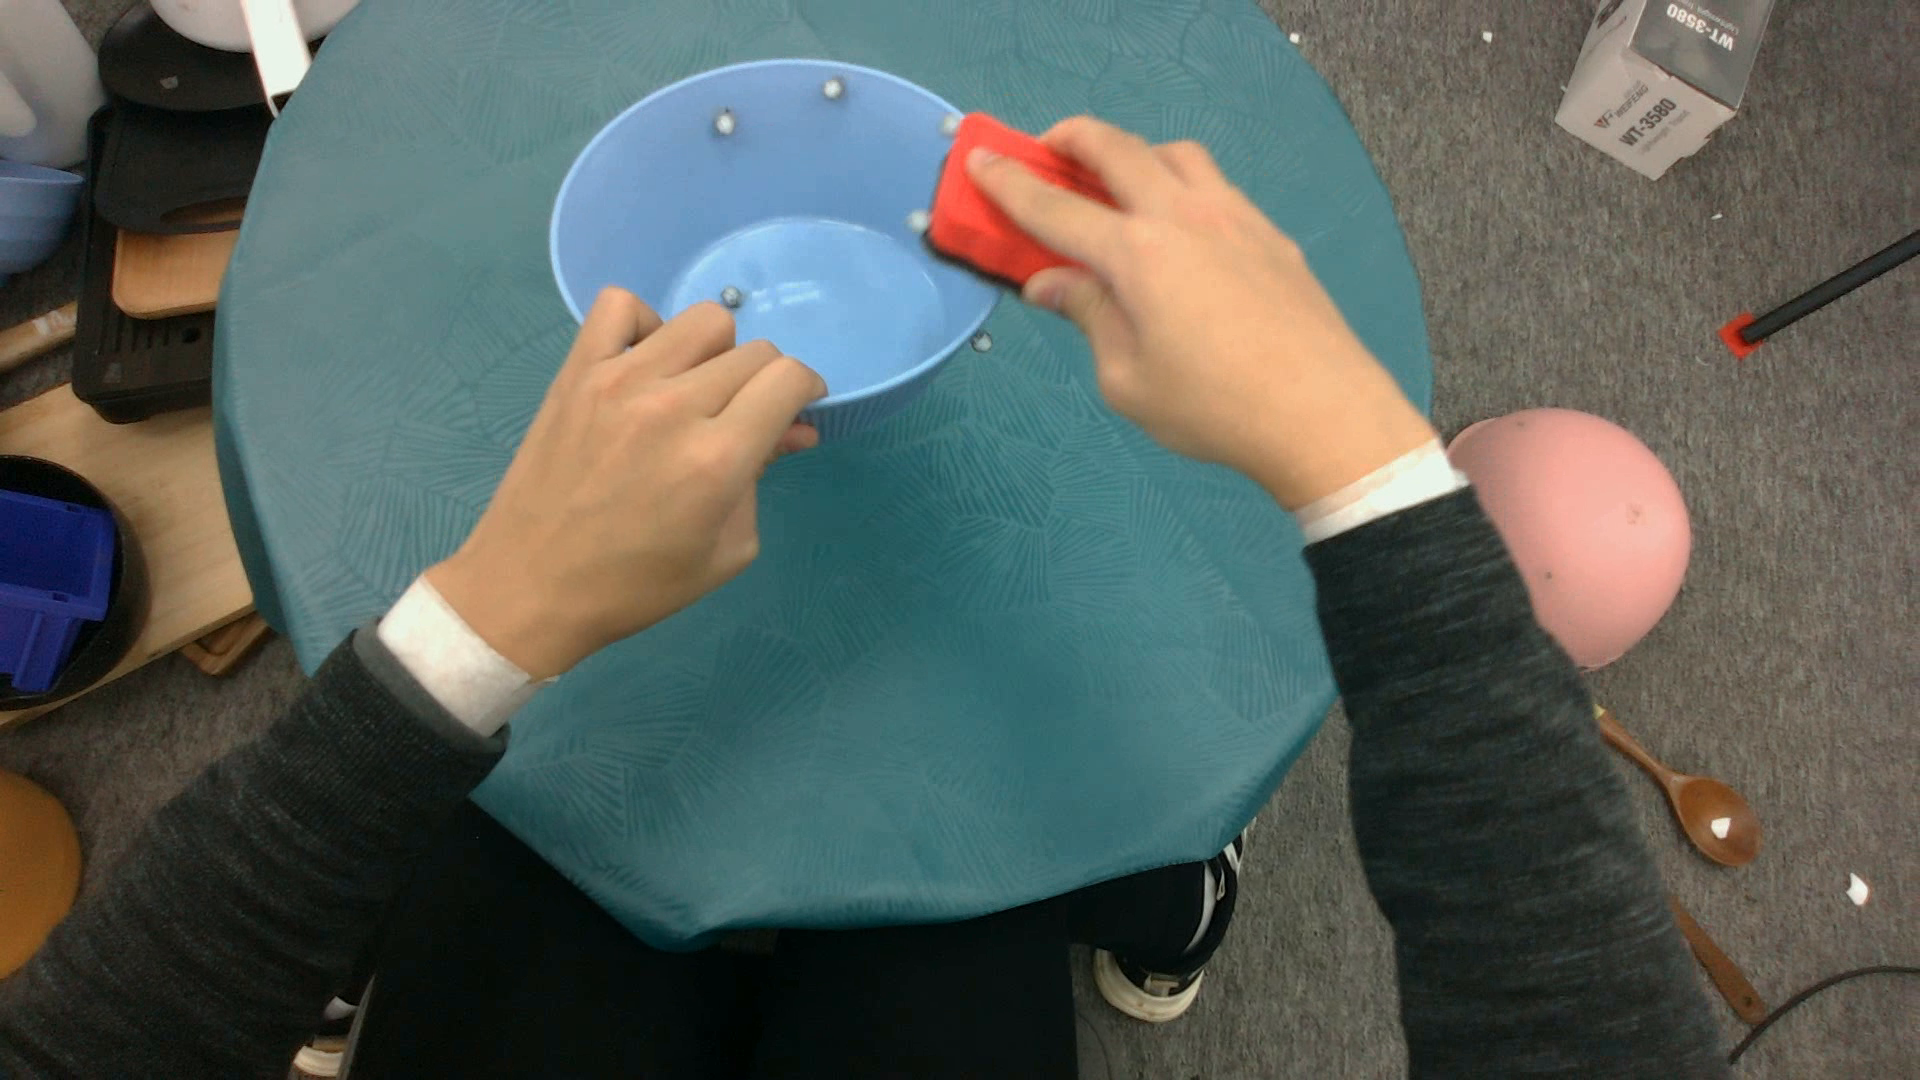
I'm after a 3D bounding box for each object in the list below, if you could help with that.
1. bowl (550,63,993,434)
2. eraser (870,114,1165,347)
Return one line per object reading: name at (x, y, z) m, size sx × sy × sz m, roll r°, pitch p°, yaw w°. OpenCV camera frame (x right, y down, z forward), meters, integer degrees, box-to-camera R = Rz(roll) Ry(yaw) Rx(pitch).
bowl at (-0.068, -0.108, 0.550) m, size 0.176 × 0.070 × 0.177 m, roll 1°, pitch 57°, yaw -1°
eraser at (0.023, -0.114, 0.510) m, size 0.108 × 0.023 × 0.059 m, roll 19°, pitch 54°, yaw -14°
